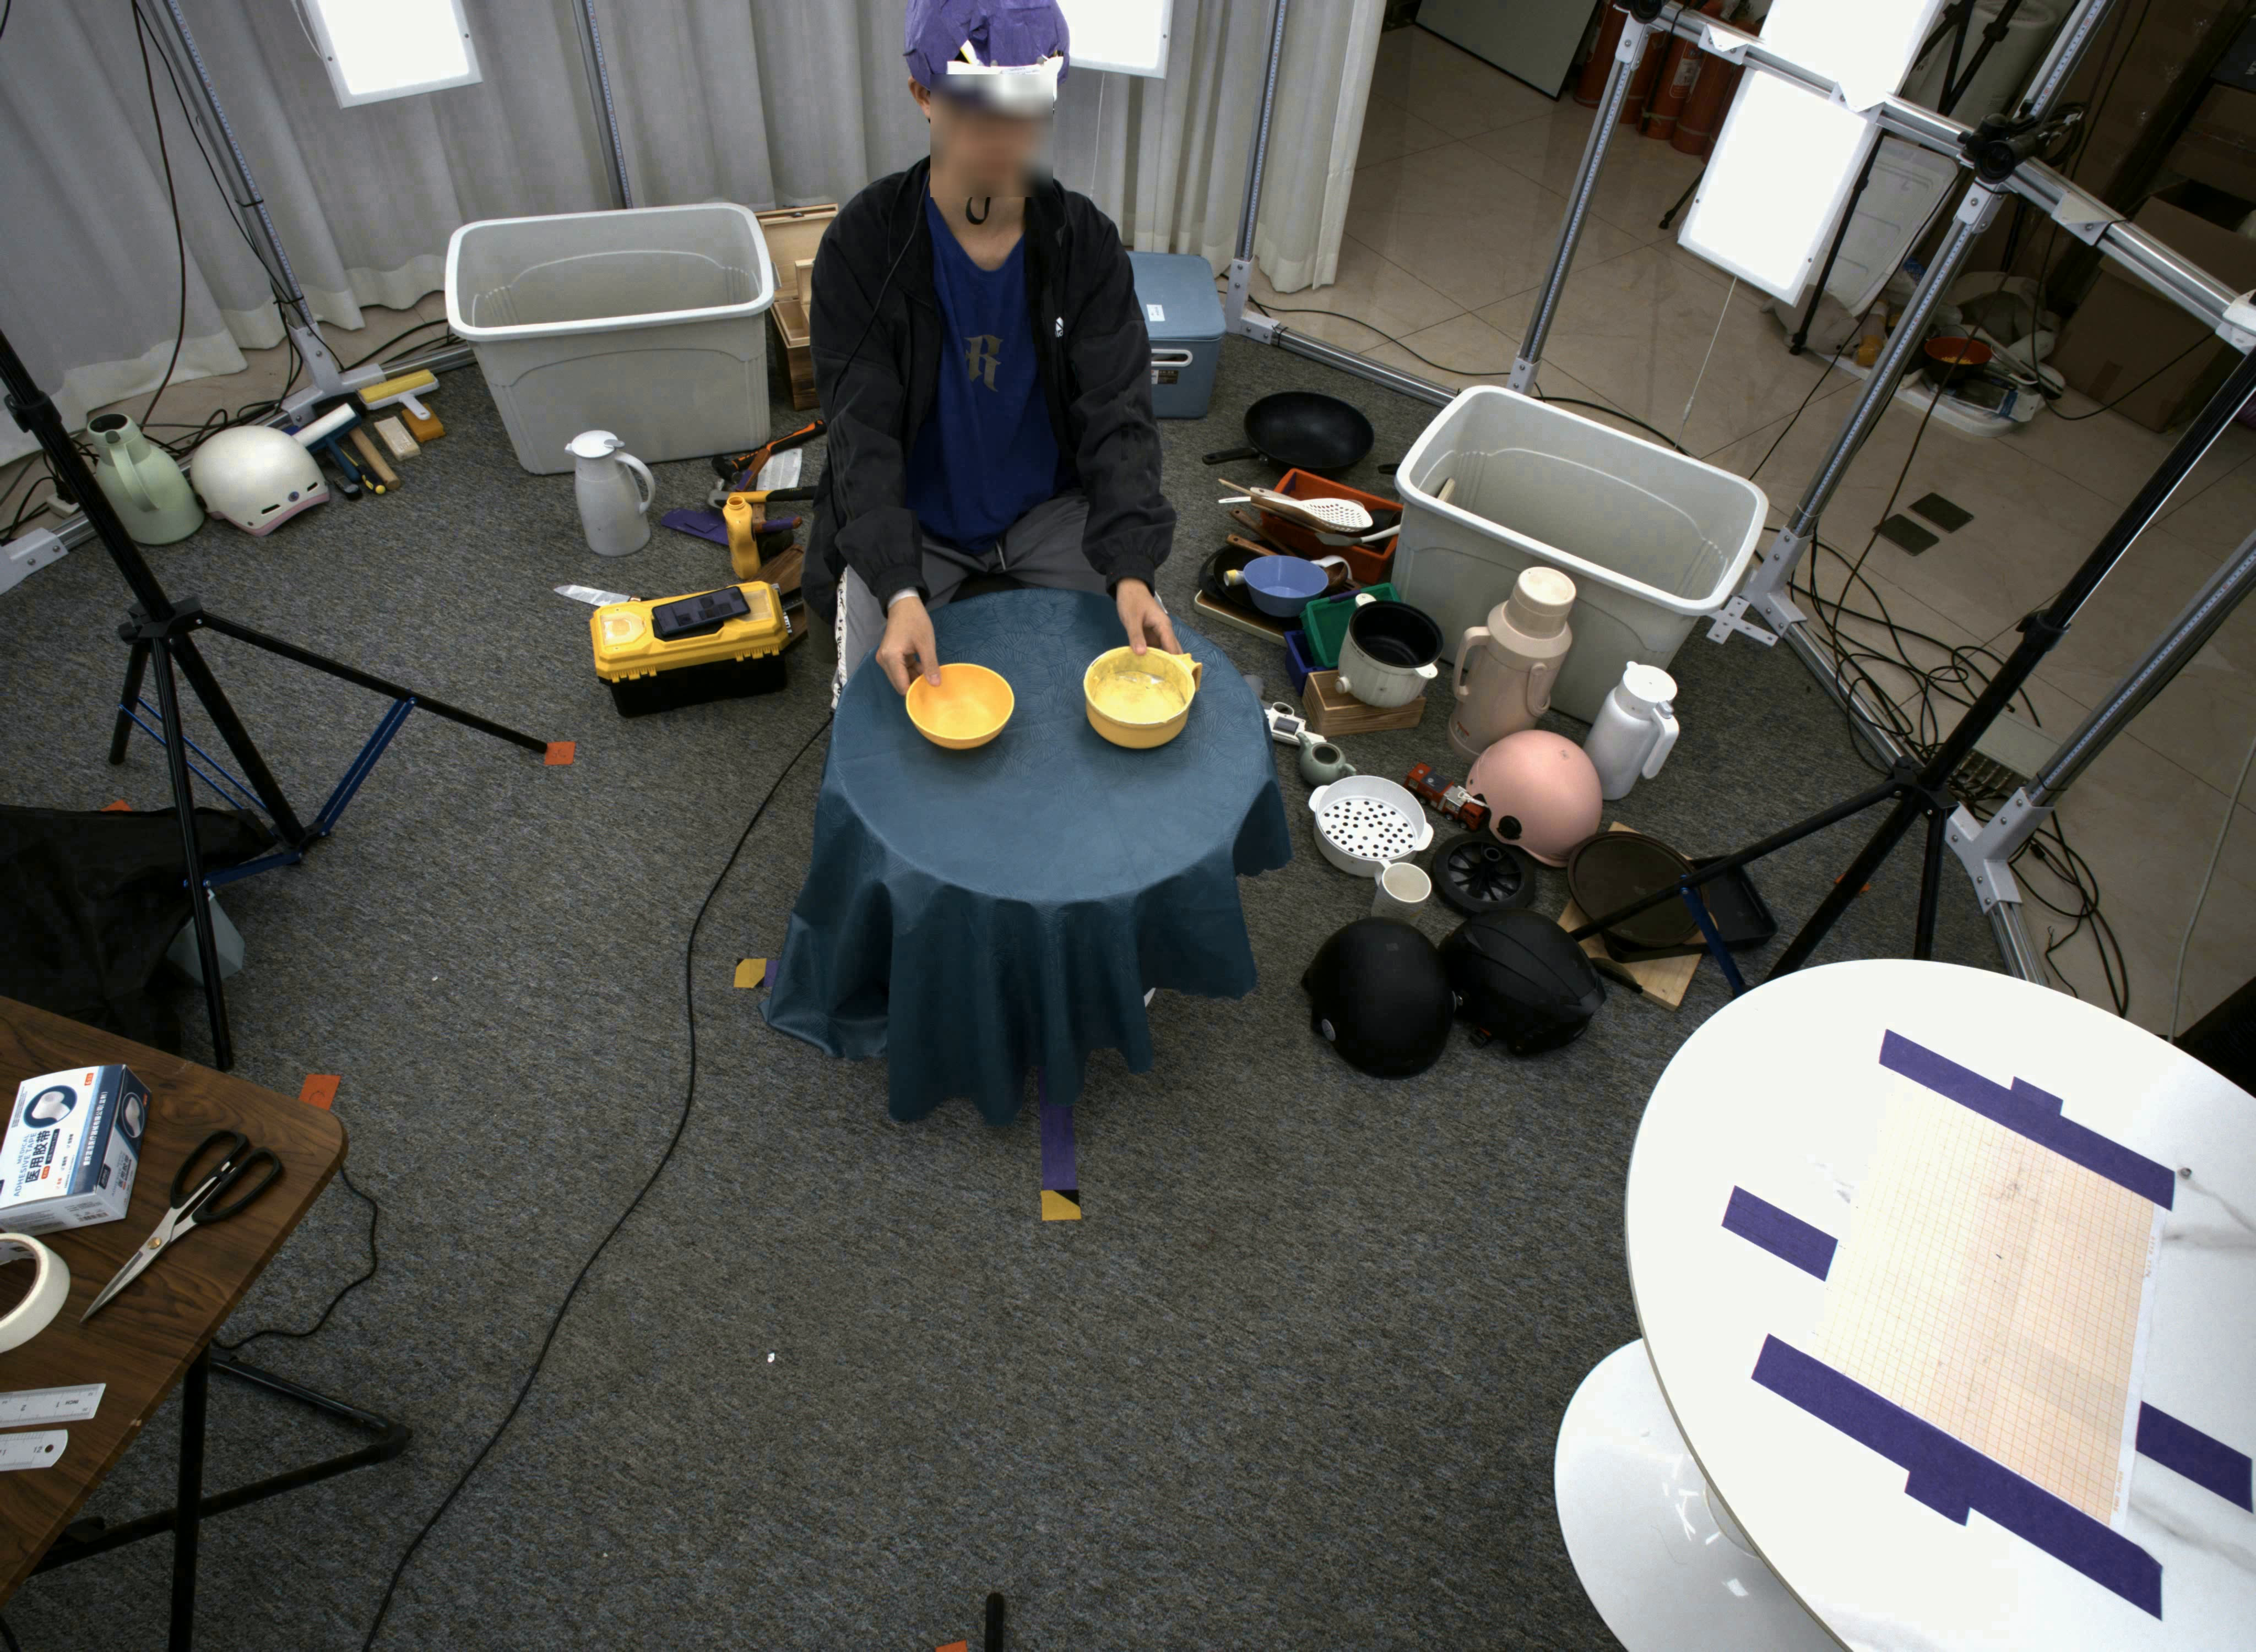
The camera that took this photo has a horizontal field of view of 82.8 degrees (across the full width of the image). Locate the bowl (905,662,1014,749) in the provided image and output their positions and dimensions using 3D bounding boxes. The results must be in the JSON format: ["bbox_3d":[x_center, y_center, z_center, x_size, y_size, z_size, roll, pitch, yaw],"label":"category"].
[{"bbox_3d":[-0.229,-0.152,1.753,0.145,0.059,0.149,3,49,-4],"label":"bowl"}]

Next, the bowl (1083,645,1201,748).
[{"bbox_3d":[0.026,-0.181,1.786,0.180,0.072,0.155,-33,56,-26],"label":"bowl"}]
